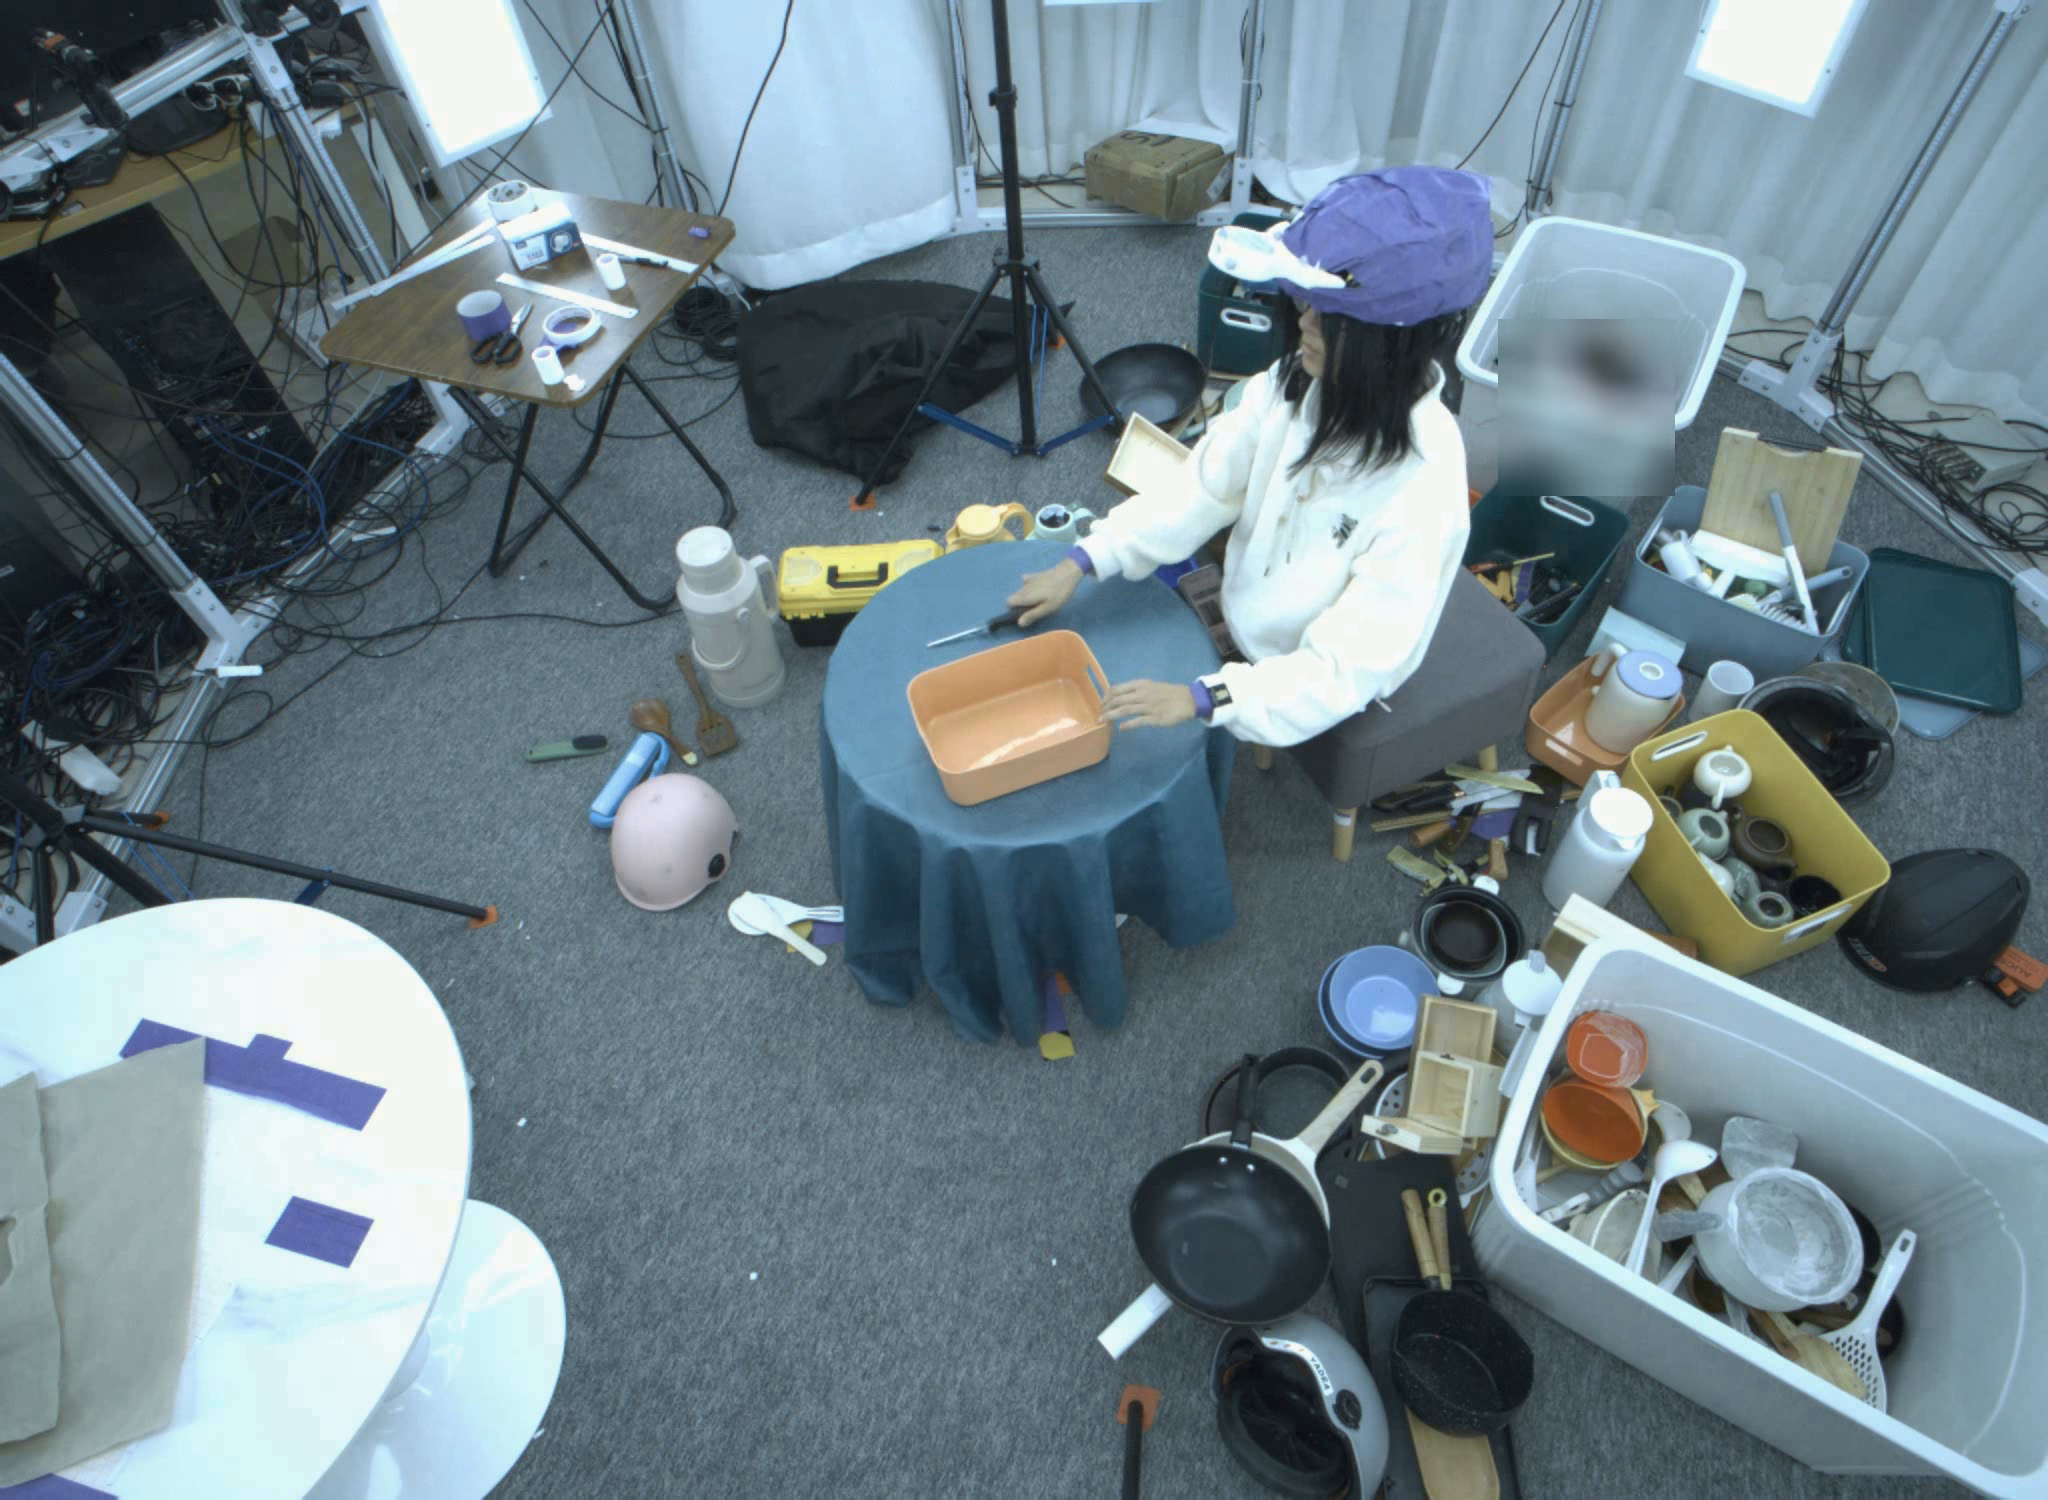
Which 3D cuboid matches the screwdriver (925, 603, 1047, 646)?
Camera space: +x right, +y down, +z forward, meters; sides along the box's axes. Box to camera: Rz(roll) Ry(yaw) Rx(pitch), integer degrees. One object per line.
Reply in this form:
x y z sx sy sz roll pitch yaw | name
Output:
-0.061 -0.193 1.914 0.196 0.032 0.031 -16 56 -1 | screwdriver

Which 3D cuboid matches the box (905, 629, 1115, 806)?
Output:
-0.016 -0.042 1.754 0.275 0.104 0.196 -19 55 -10 | box
